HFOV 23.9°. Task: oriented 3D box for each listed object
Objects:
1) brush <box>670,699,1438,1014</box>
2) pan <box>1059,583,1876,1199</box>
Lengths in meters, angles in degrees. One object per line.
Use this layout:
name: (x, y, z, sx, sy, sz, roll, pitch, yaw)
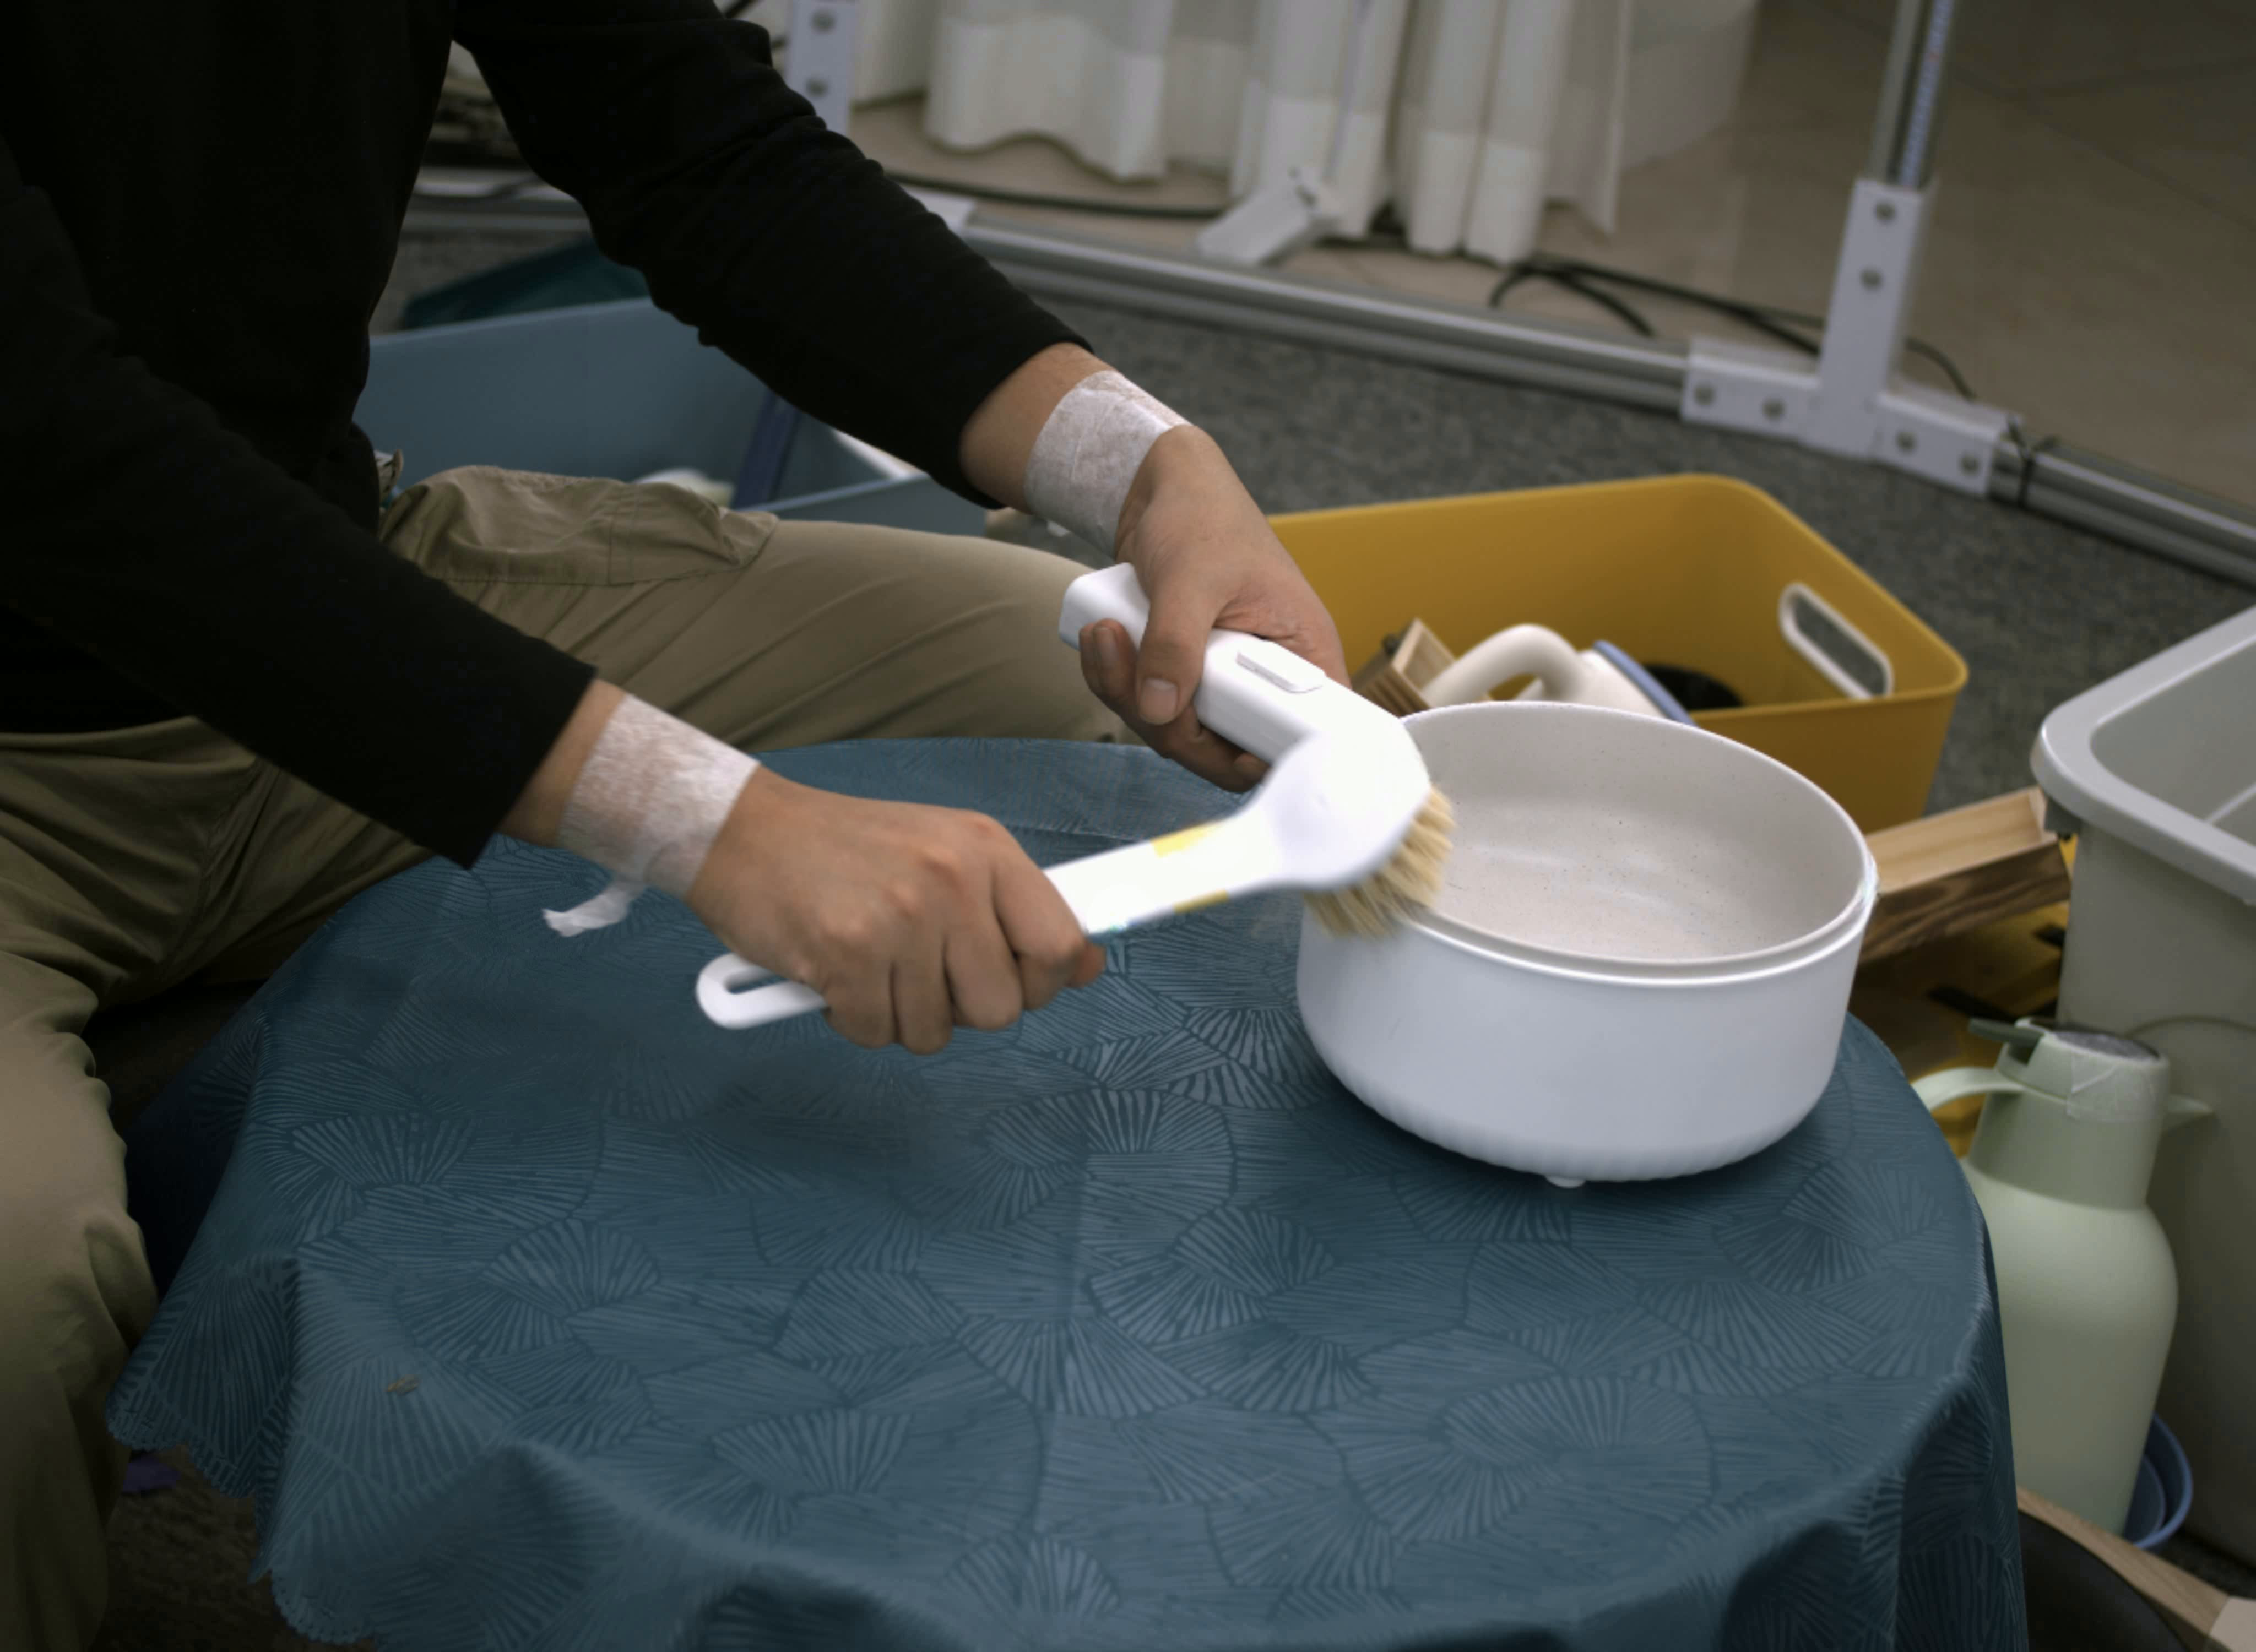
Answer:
brush: (-0.024, 0.025, 1.803, 0.266, 0.056, 0.069, -20, 47, -3)
pan: (0.105, 0.019, 1.931, 0.200, 0.102, 0.357, -21, 37, -39)
